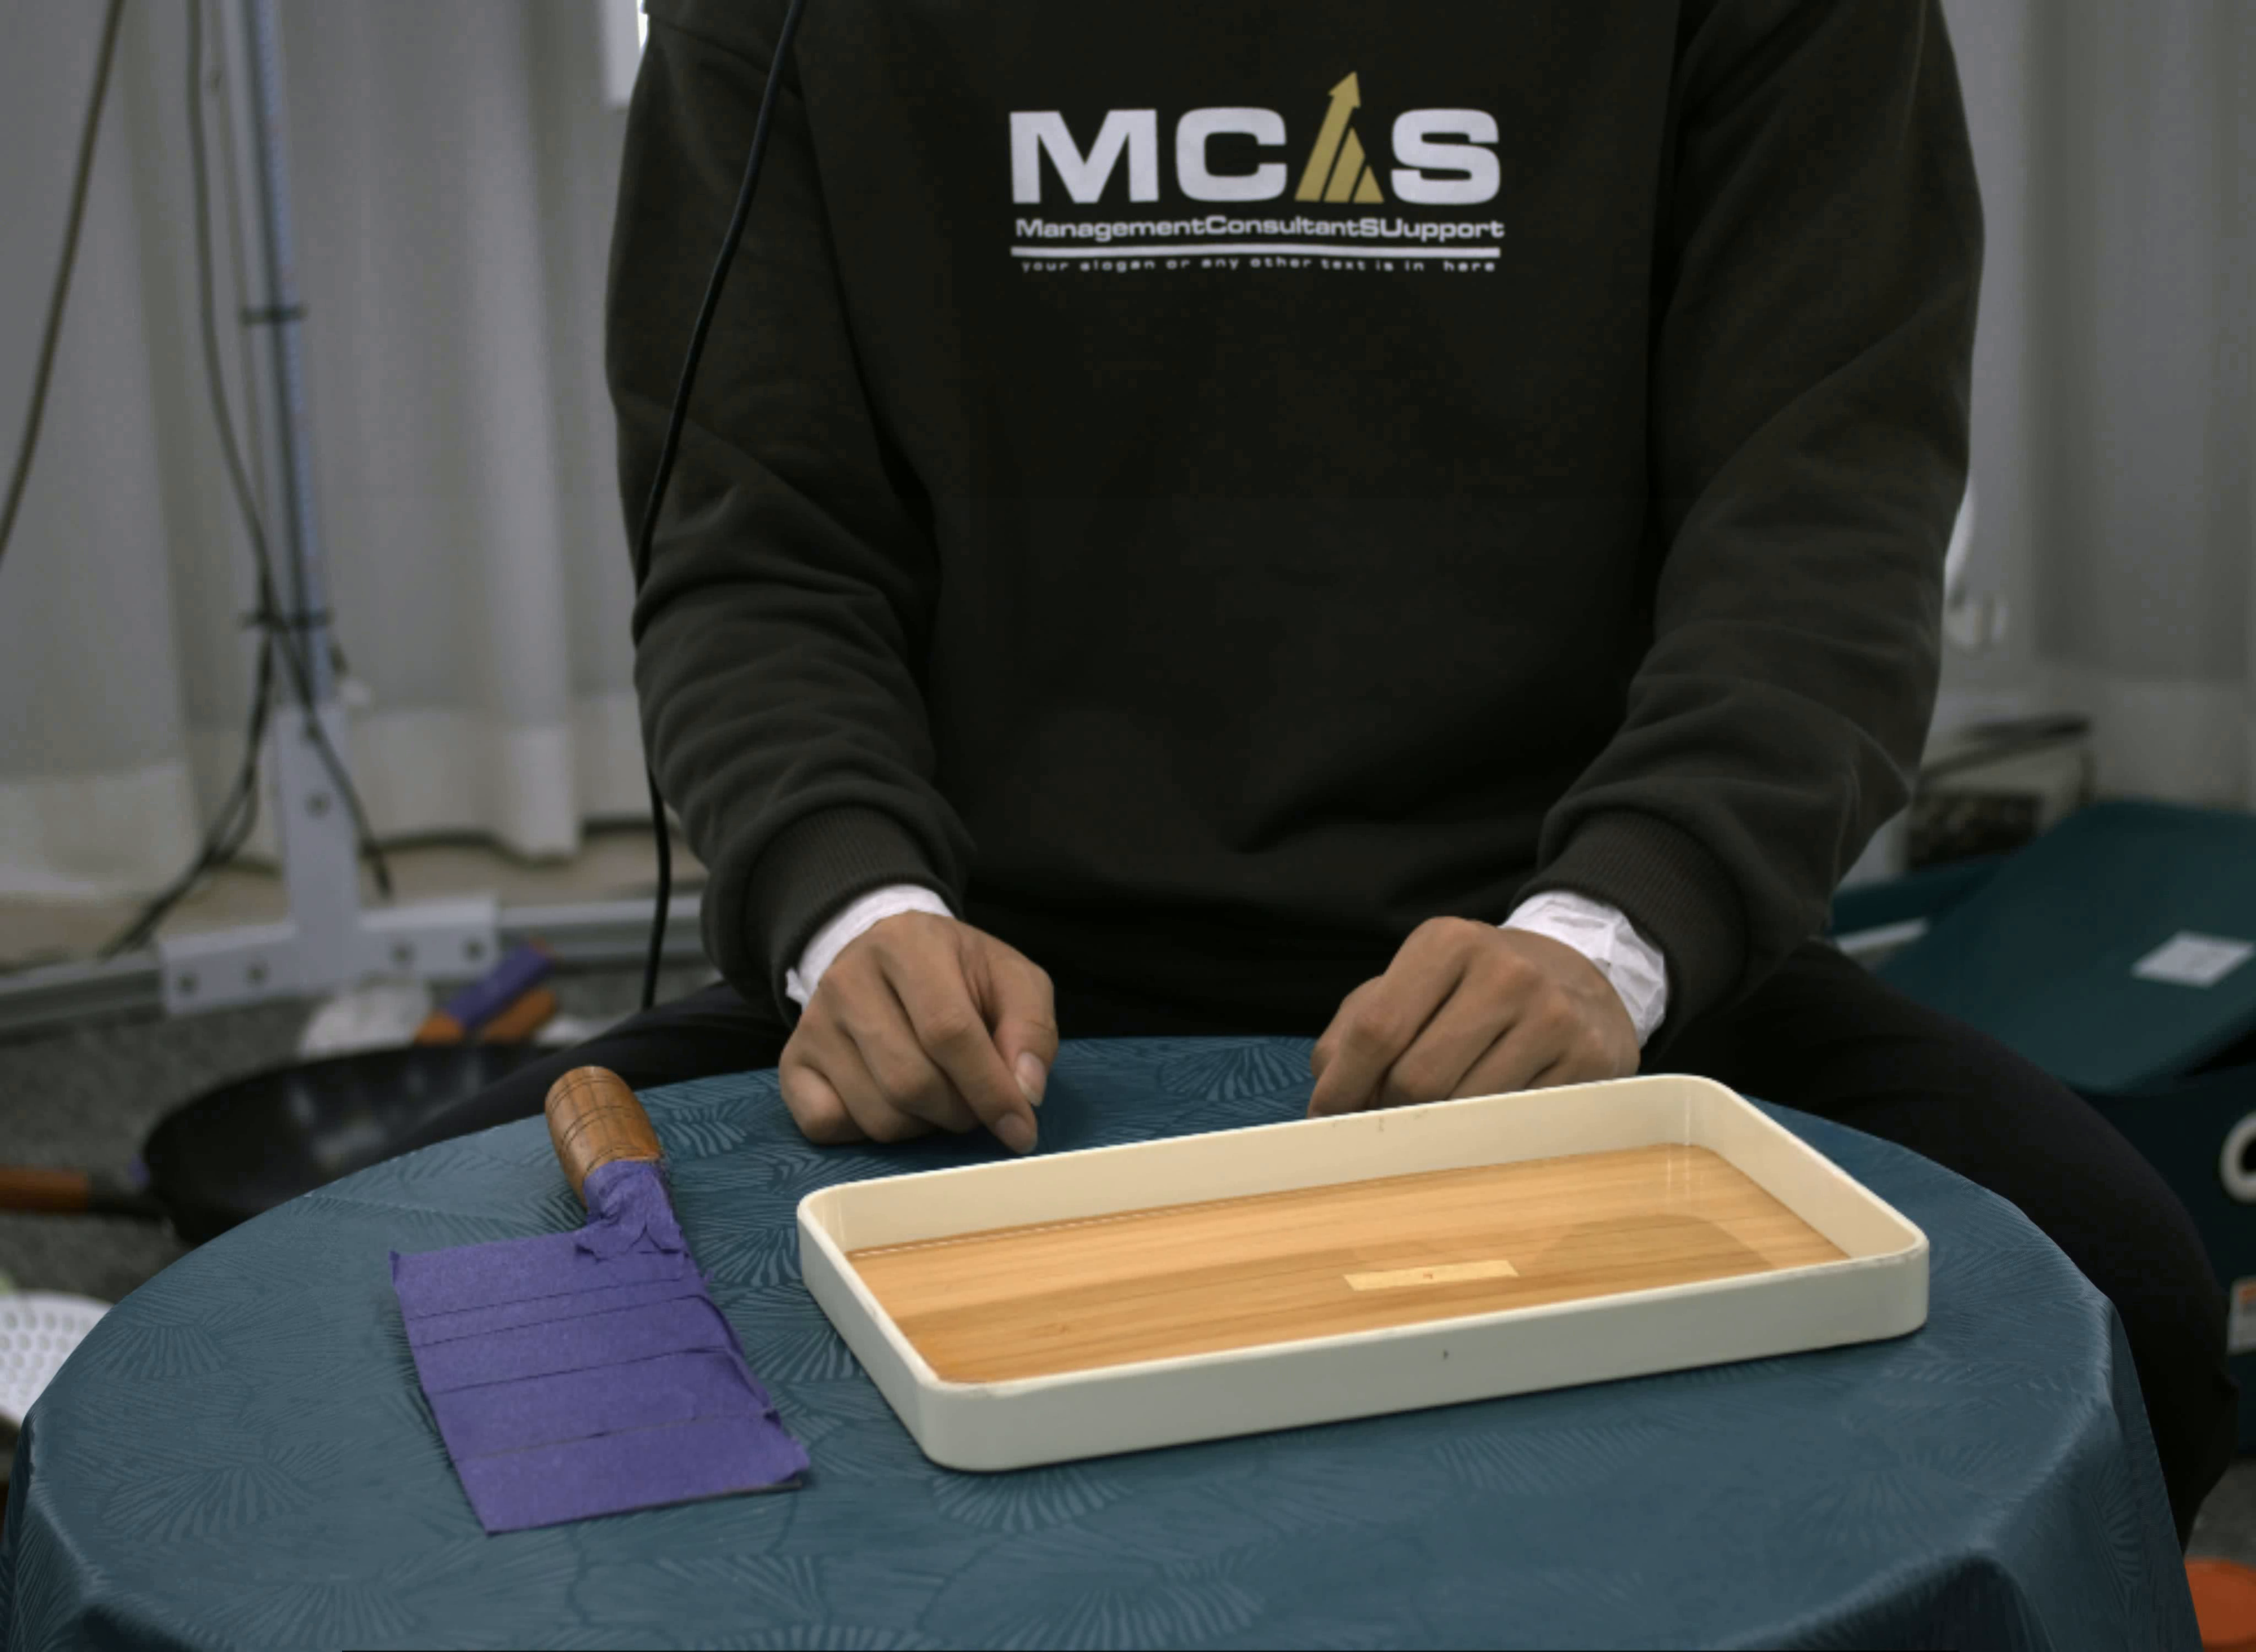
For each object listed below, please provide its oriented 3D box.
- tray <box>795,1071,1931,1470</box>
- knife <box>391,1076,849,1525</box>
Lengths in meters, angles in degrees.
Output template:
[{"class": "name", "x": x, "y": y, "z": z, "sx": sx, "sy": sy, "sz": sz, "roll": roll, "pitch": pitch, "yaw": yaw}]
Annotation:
[{"class": "tray", "x": 0.065, "y": 0.127, "z": 1.605, "sx": 0.299, "sy": 0.027, "sz": 0.193, "roll": -7, "pitch": 15, "yaw": -15}, {"class": "knife", "x": -0.167, "y": 0.136, "z": 1.615, "sx": 0.103, "sy": 0.032, "sz": 0.318, "roll": -6, "pitch": 16, "yaw": -15}]
